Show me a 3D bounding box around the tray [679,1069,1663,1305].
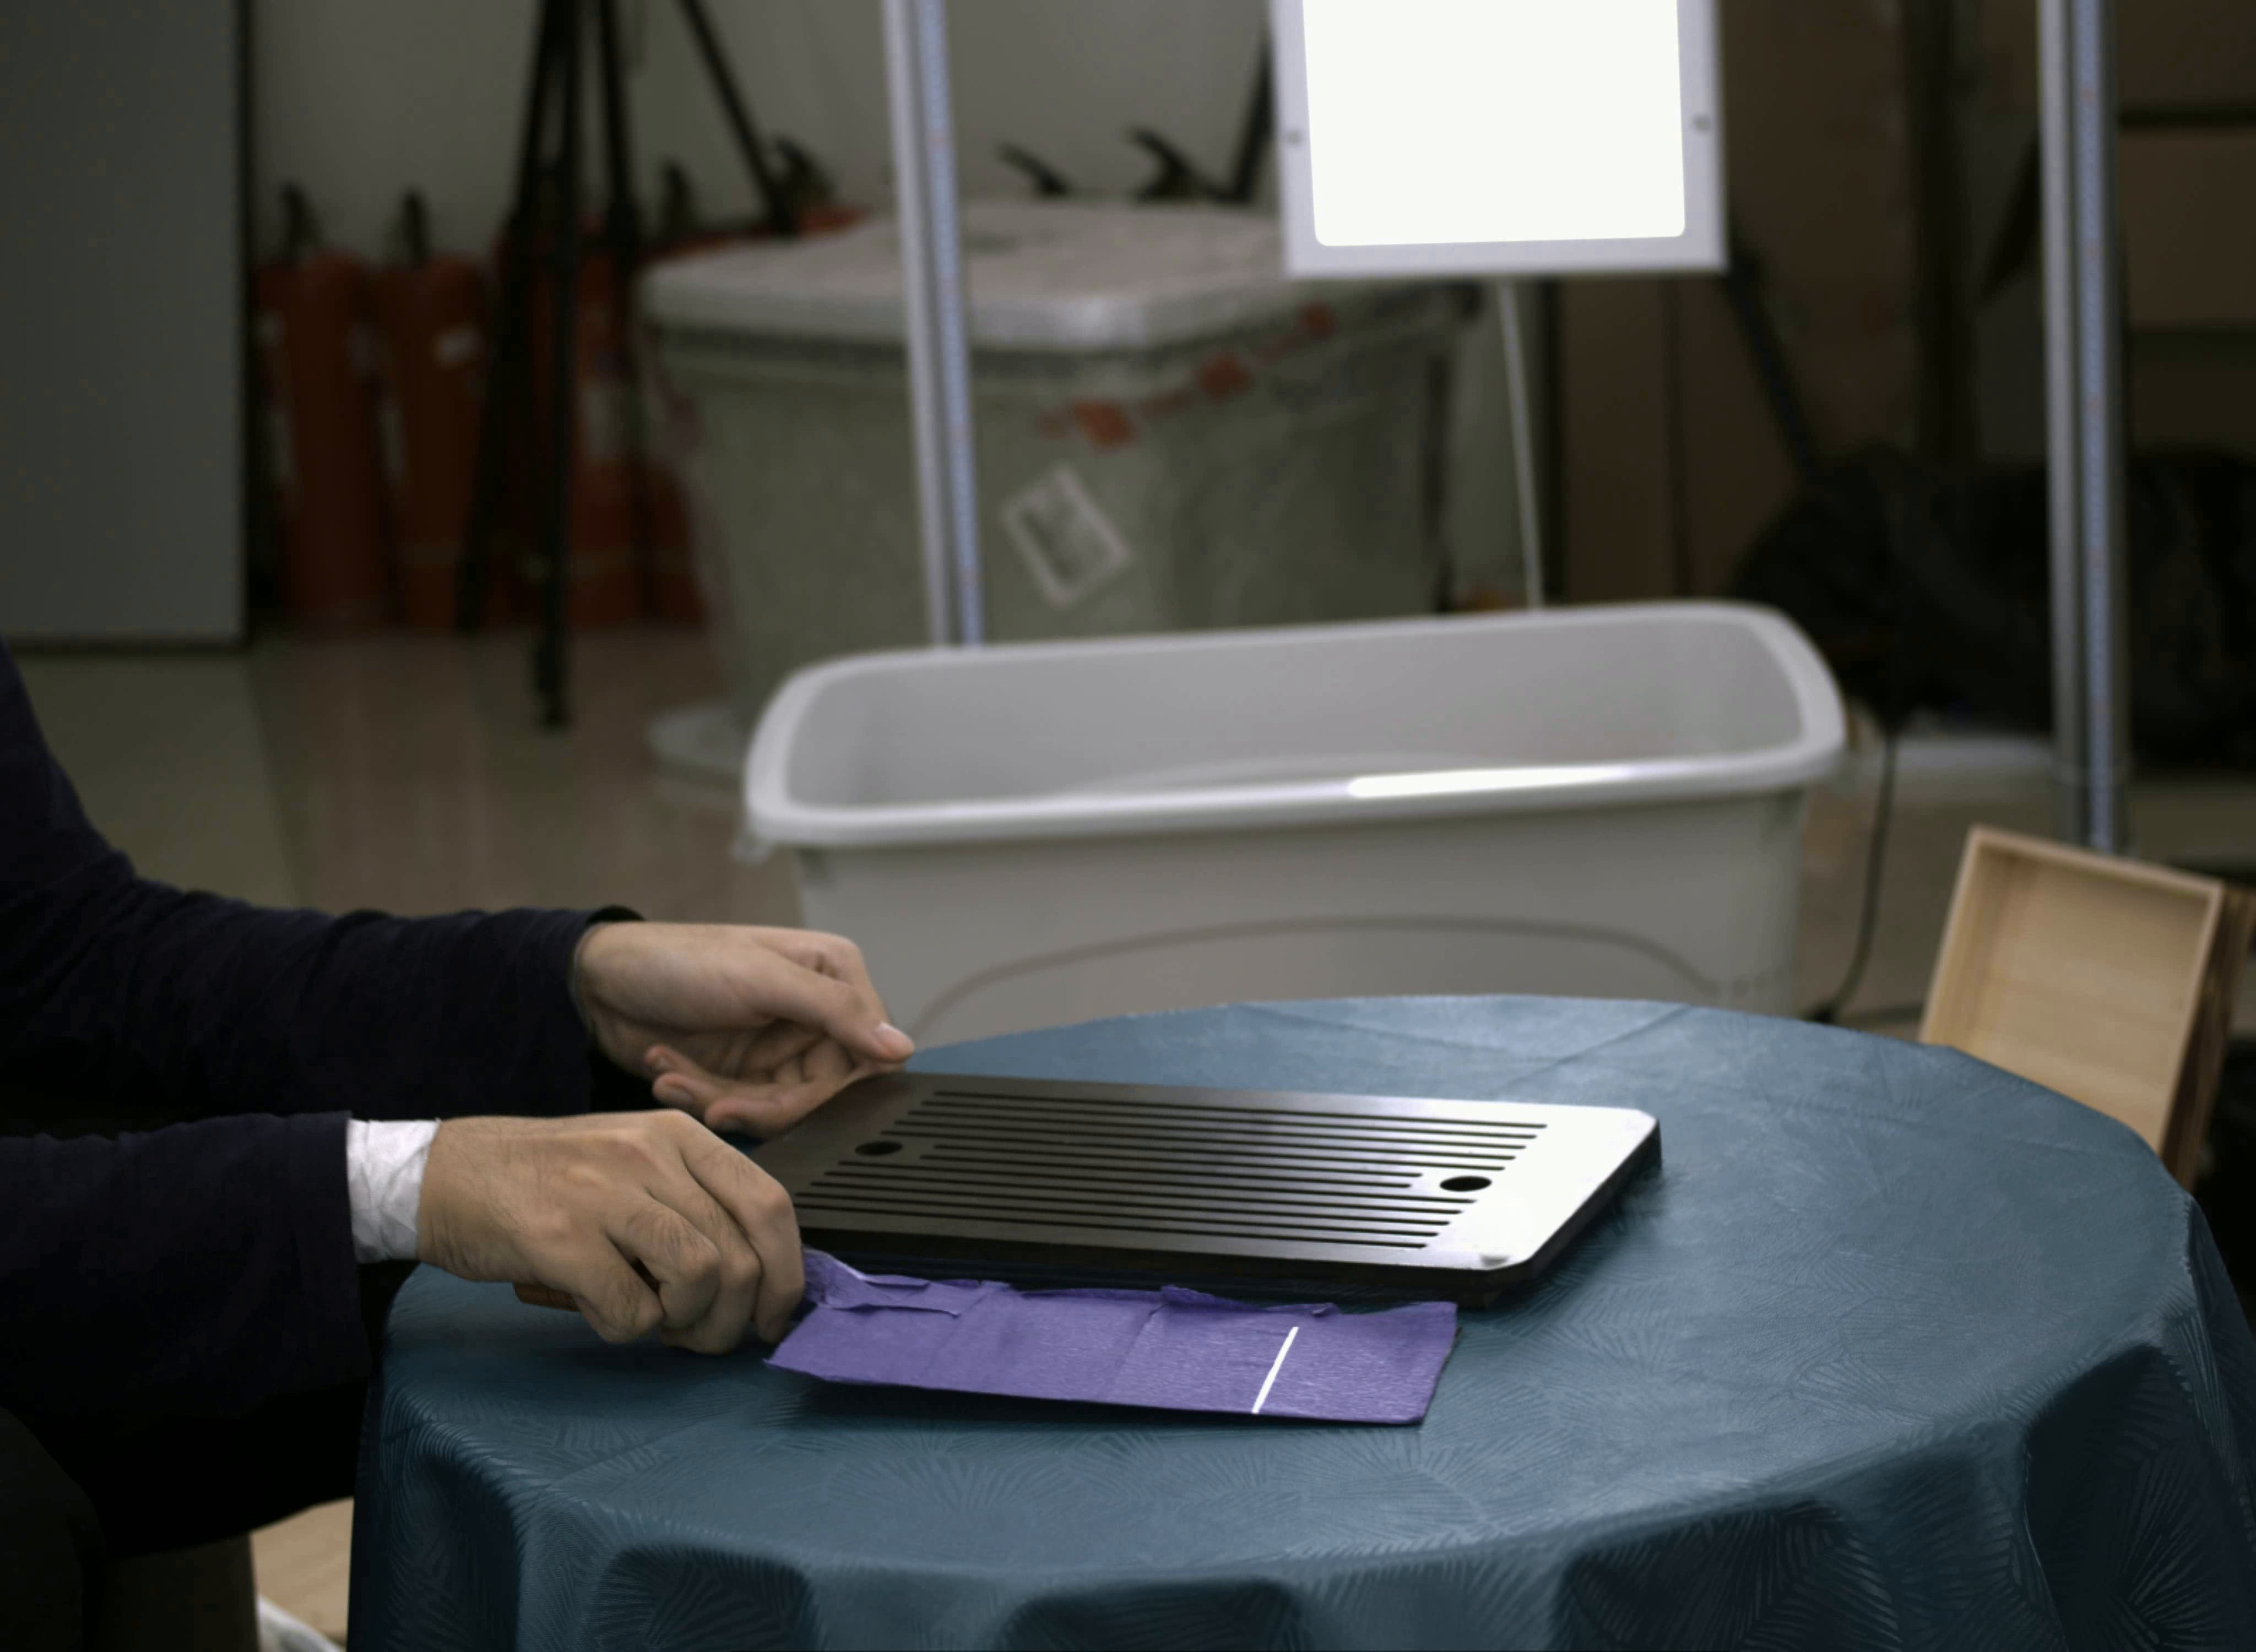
[{"bbox_3d":[0.016,0.121,1.874,0.311,0.019,0.167,2,15,24],"label":"tray"}]

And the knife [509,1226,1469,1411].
[{"bbox_3d":[-0.053,0.155,1.732,0.318,0.032,0.102,1,14,16],"label":"knife"}]
